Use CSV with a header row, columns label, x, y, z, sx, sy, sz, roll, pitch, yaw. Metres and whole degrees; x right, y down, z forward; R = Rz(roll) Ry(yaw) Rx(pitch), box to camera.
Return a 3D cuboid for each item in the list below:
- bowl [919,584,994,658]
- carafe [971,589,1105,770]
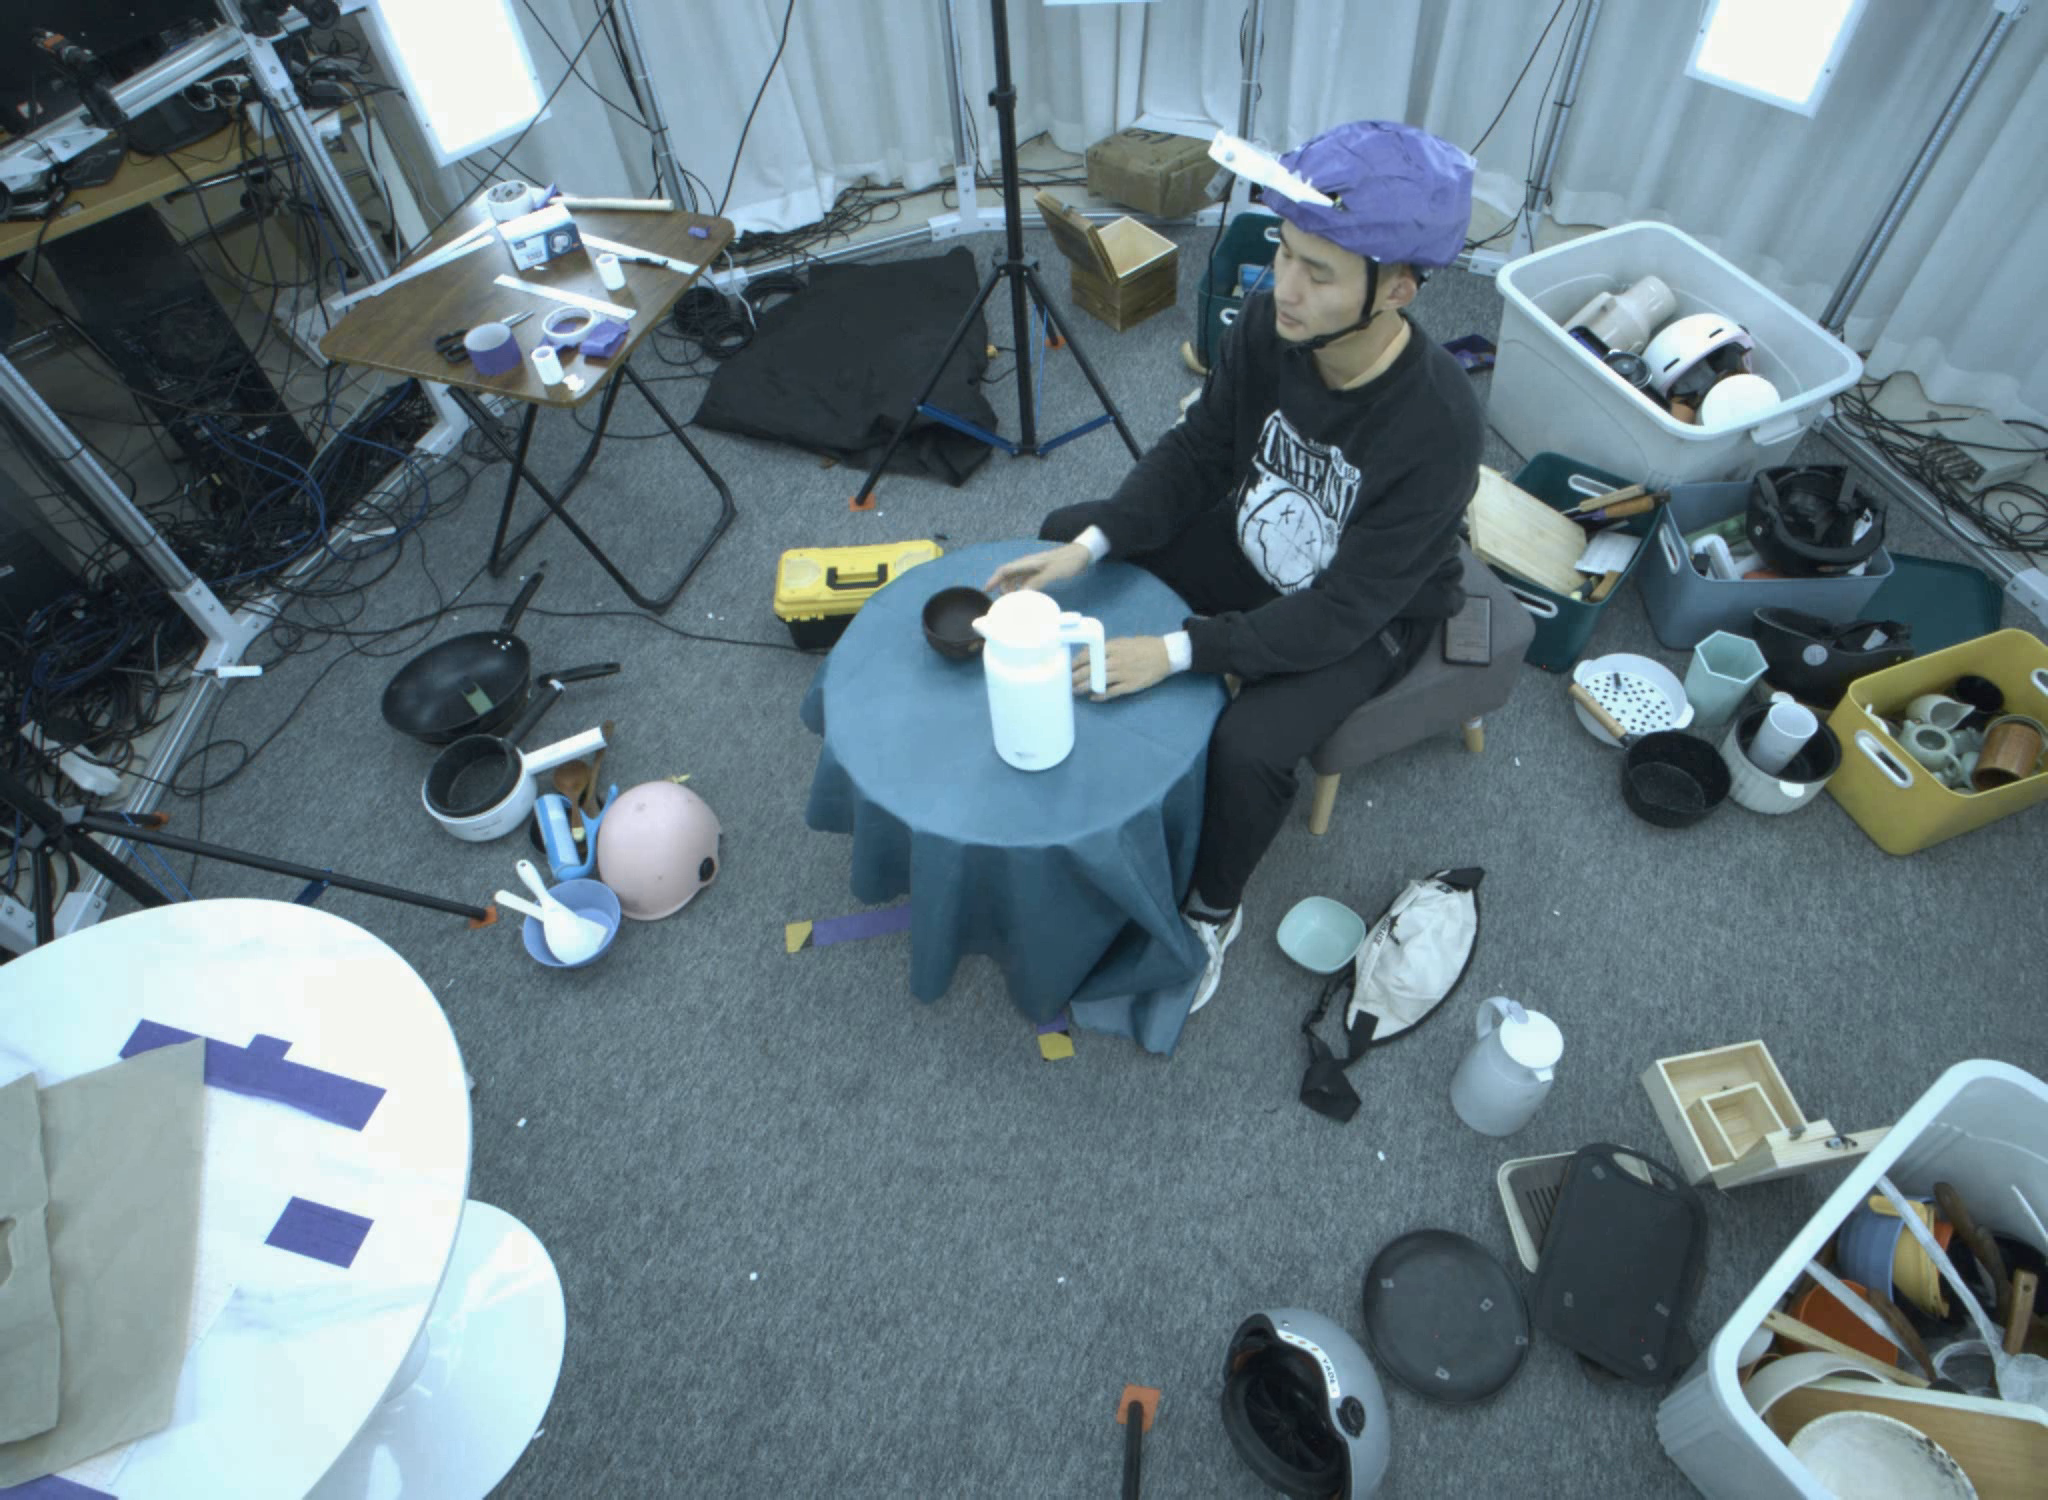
label,x,y,z,sx,sy,sz,roll,pitch,yaw
bowl,-0.099,-0.189,1.876,0.118,0.070,0.117,-1,55,3
carafe,0.025,-0.094,1.685,0.173,0.272,0.122,-3,52,2
